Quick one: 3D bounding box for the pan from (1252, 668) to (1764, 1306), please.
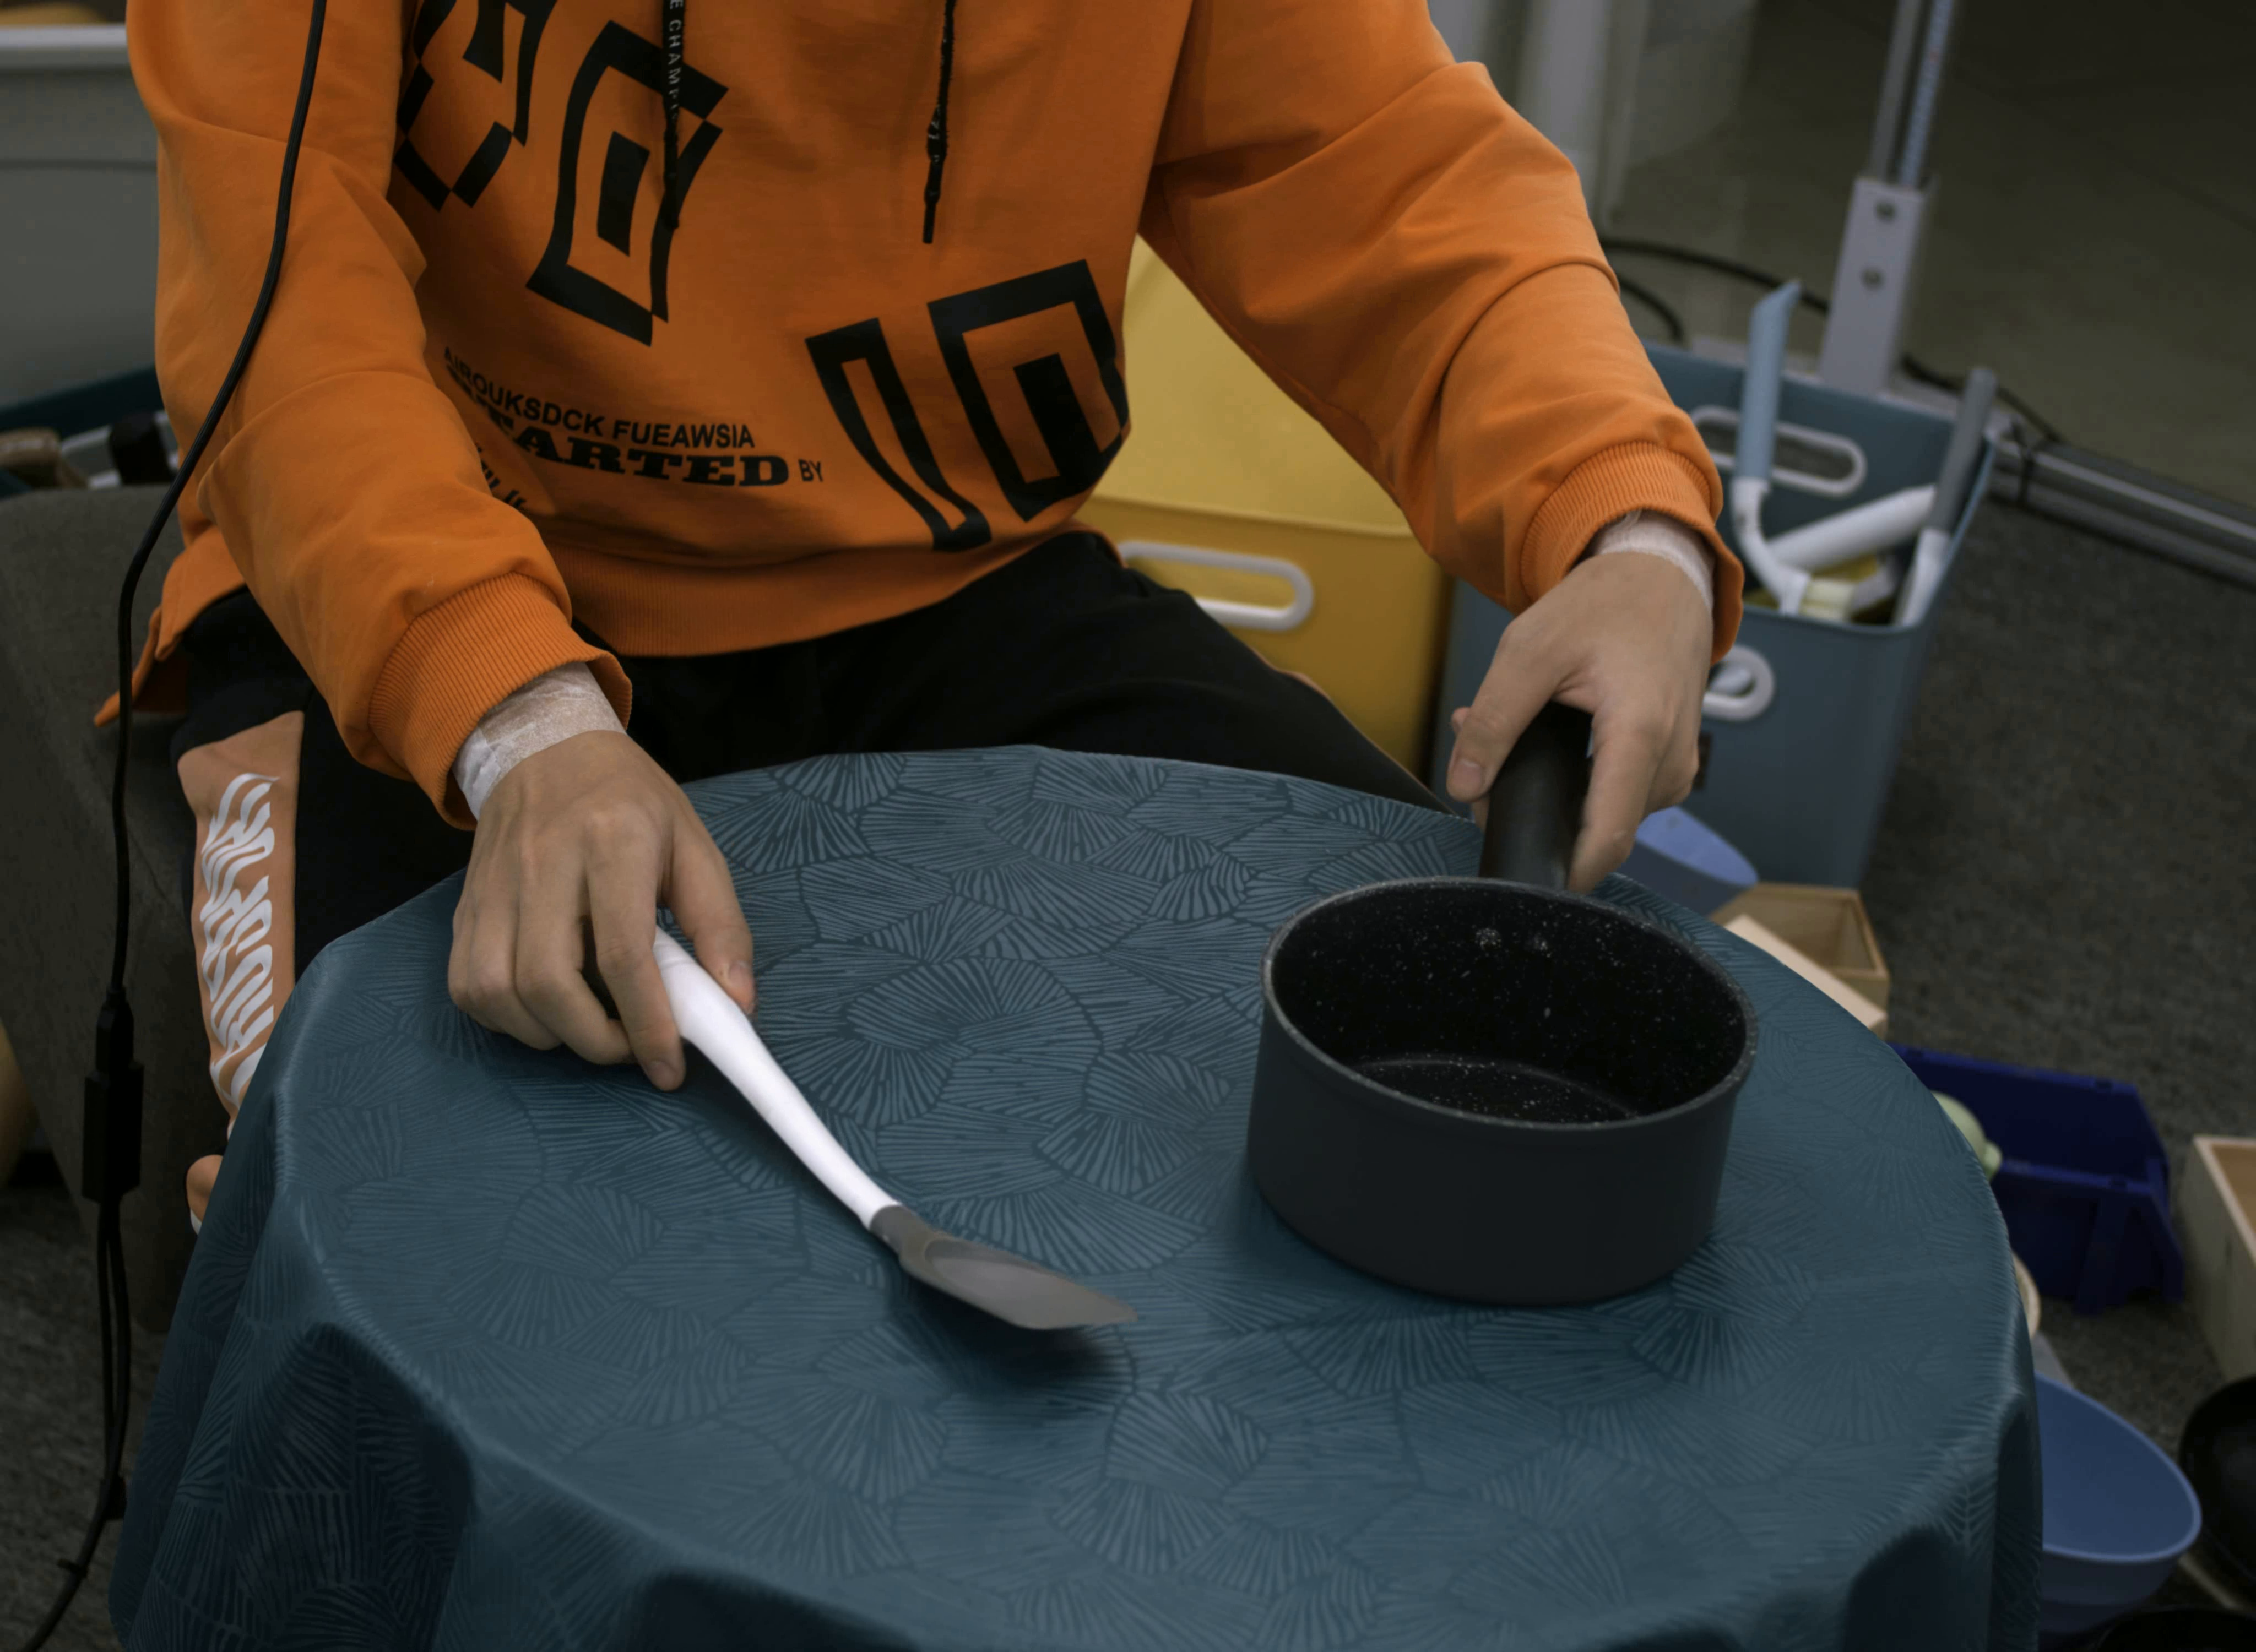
[{"bbox_3d":[0.138,0.052,1.880,0.172,0.086,0.330,10,29,5],"label":"pan"}]

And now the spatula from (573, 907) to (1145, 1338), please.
[{"bbox_3d":[-0.098,0.105,1.778,0.058,0.032,0.290,7,21,-43],"label":"spatula"}]
